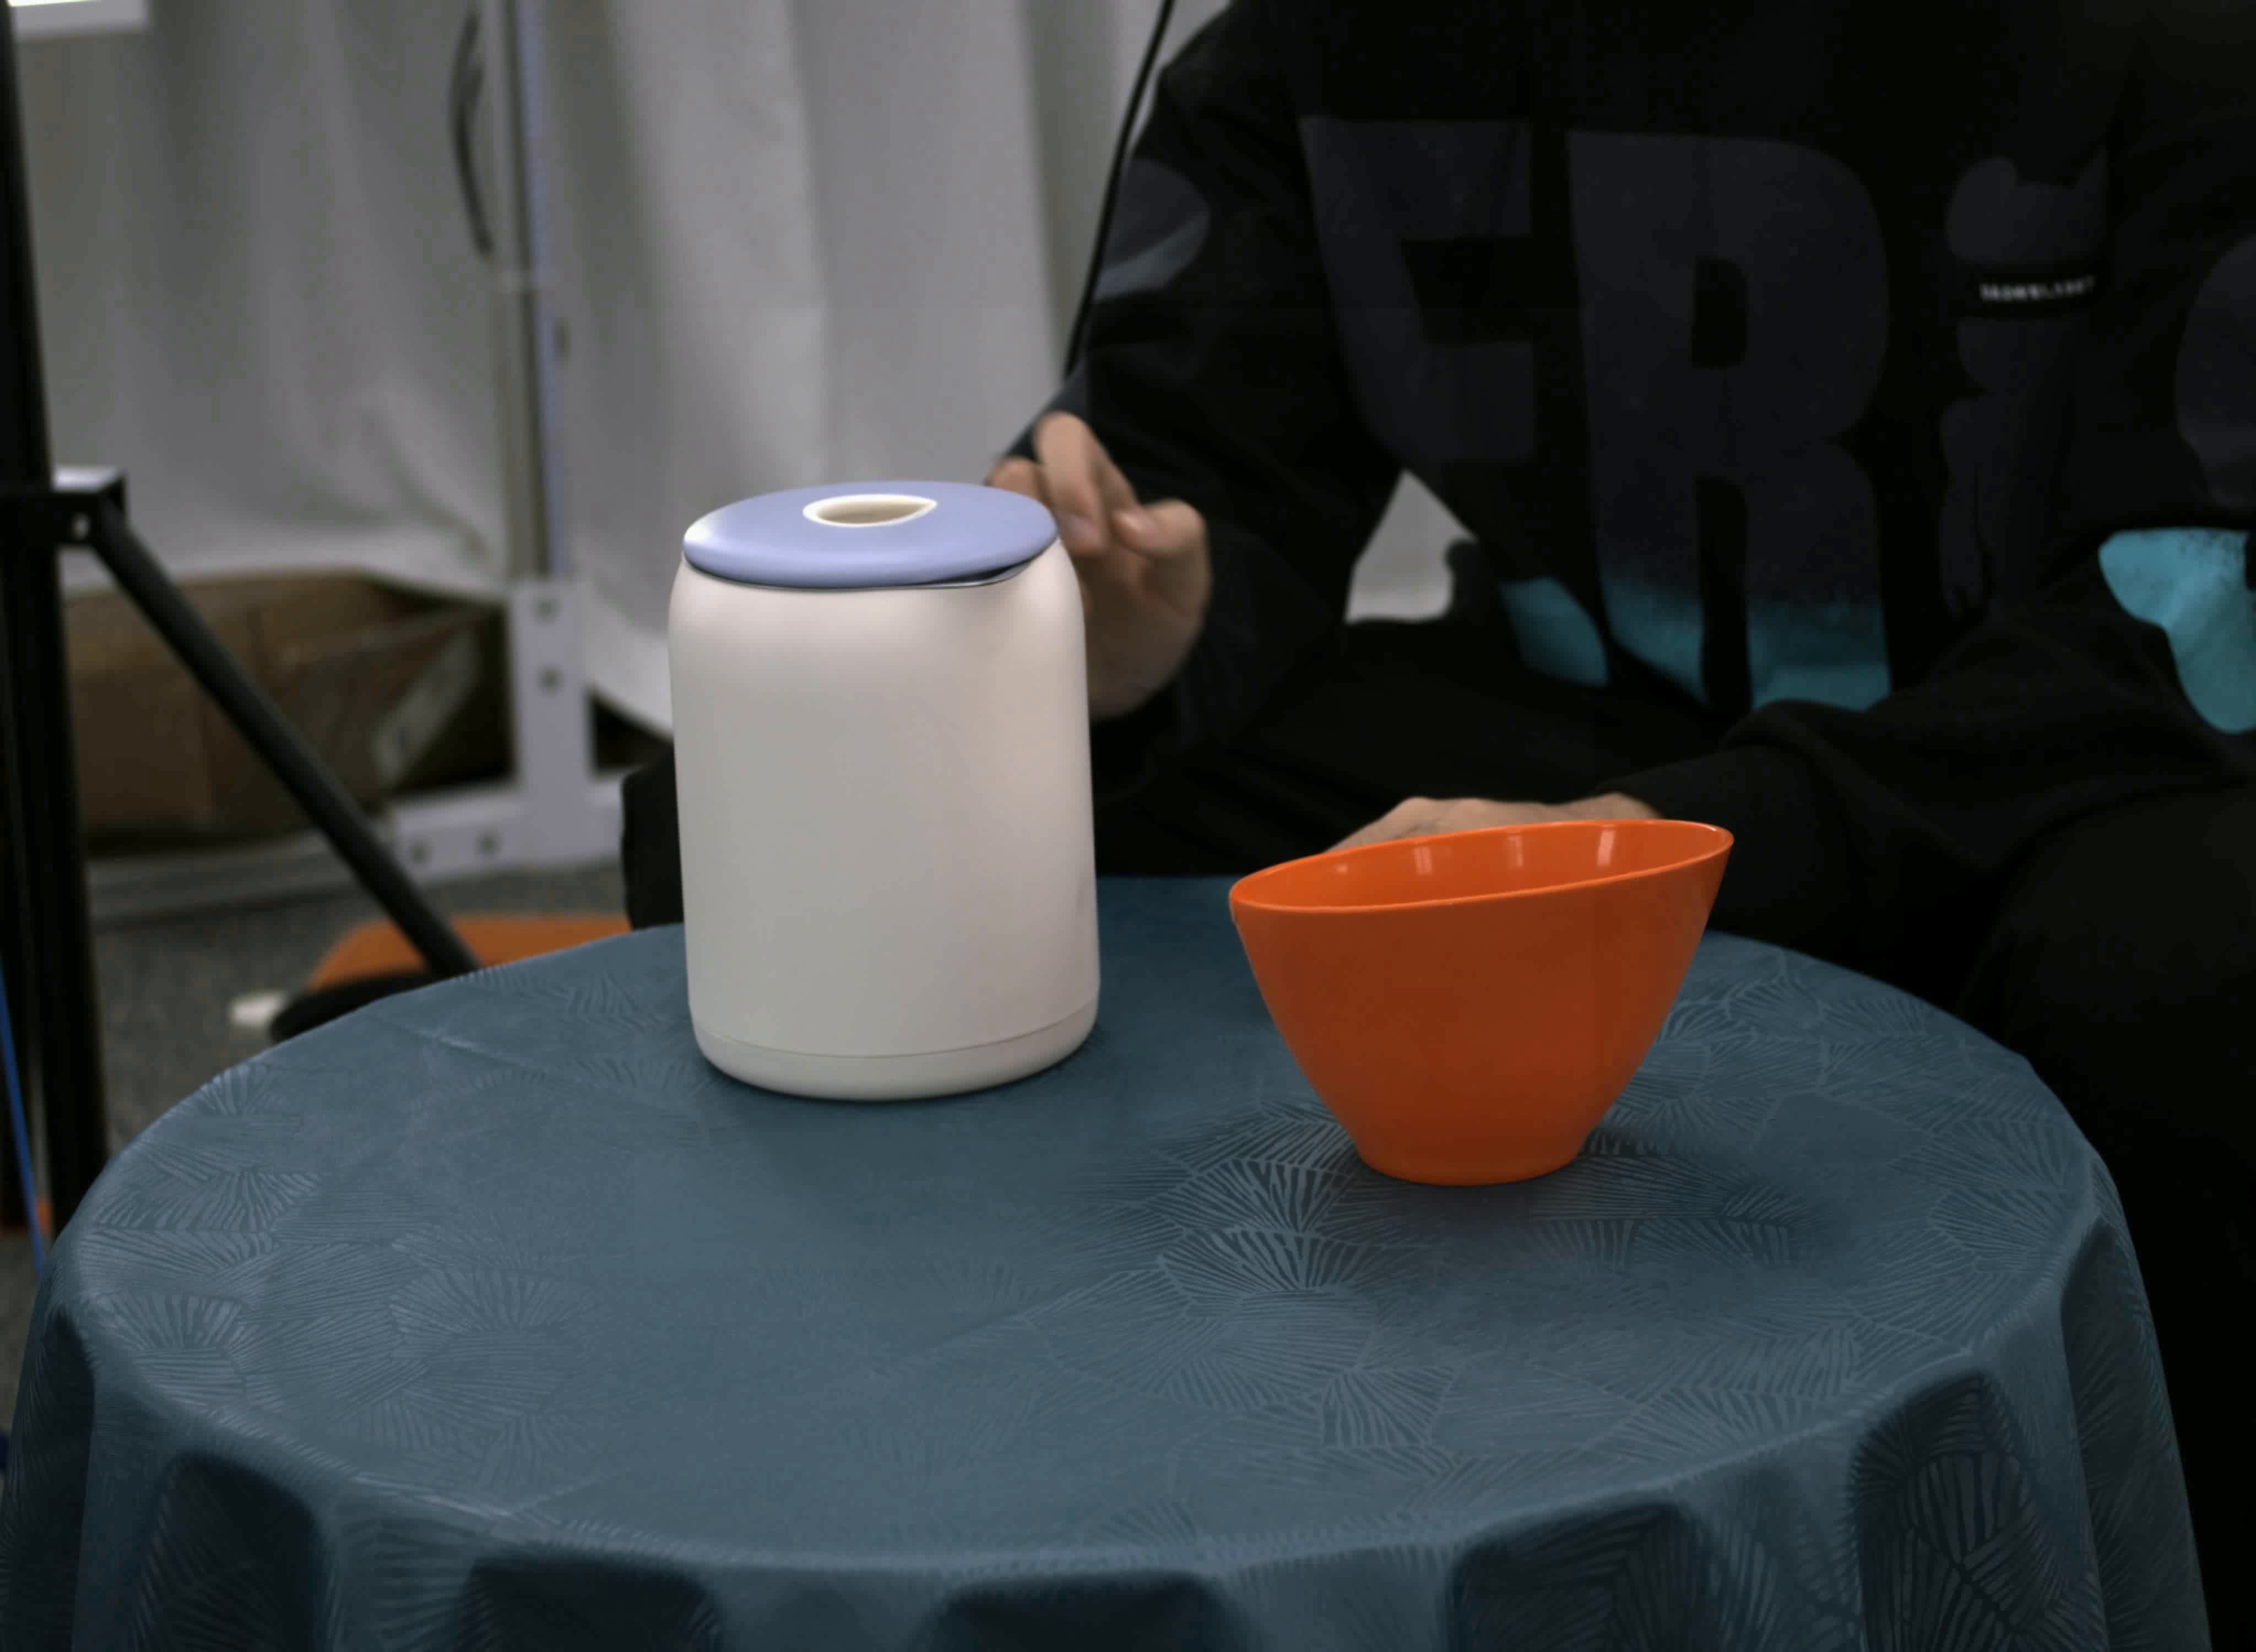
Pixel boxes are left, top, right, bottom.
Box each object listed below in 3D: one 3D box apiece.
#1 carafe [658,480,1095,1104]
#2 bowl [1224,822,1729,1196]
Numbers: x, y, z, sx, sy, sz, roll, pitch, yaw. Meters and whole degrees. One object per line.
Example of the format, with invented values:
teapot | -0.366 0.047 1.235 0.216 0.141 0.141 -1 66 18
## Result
carafe | -0.092 -0.016 1.701 0.129 0.182 0.195 -11 15 -34
bowl | 0.102 0.052 1.554 0.147 0.104 0.149 -3 16 -1
